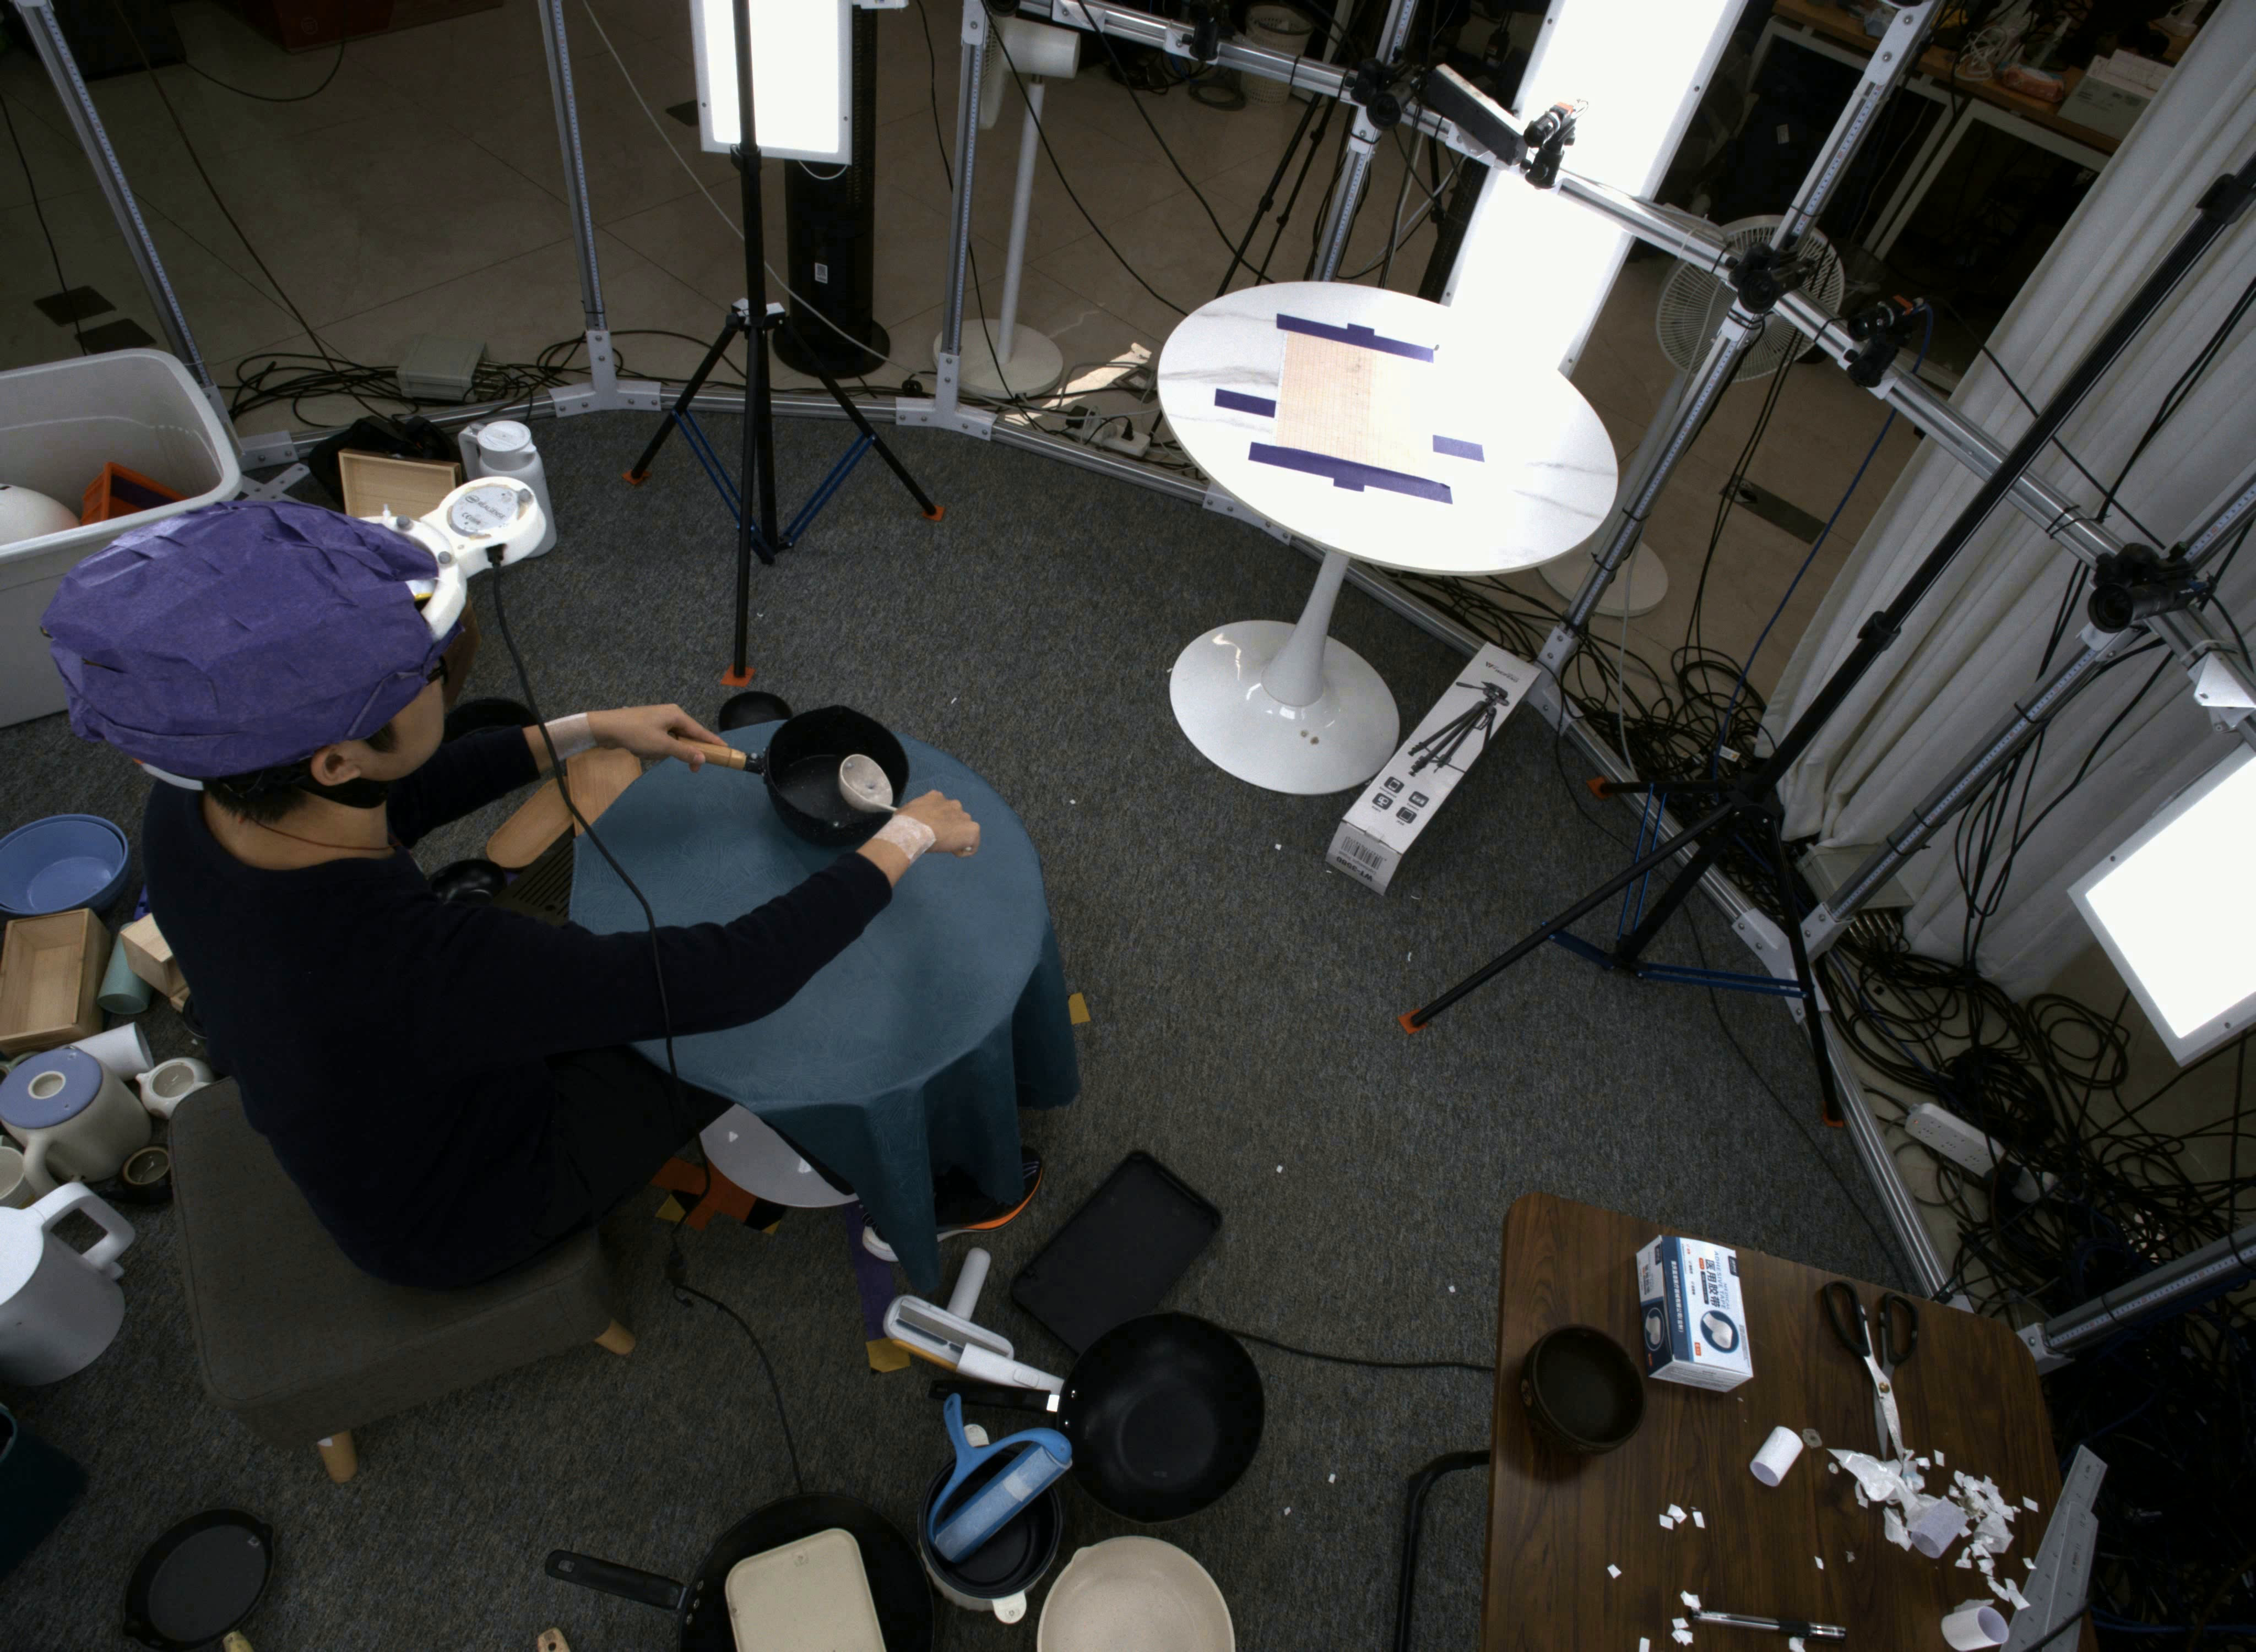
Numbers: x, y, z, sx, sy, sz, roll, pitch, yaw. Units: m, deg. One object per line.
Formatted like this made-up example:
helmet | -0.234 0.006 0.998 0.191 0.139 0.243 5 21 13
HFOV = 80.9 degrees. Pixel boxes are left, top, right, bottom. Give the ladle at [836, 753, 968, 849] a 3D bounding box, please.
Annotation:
ladle | -0.266 -0.034 1.590 0.264 0.092 0.069 16 75 43

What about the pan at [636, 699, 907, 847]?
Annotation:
pan | -0.459 -0.071 1.665 0.346 0.109 0.203 5 56 -22
